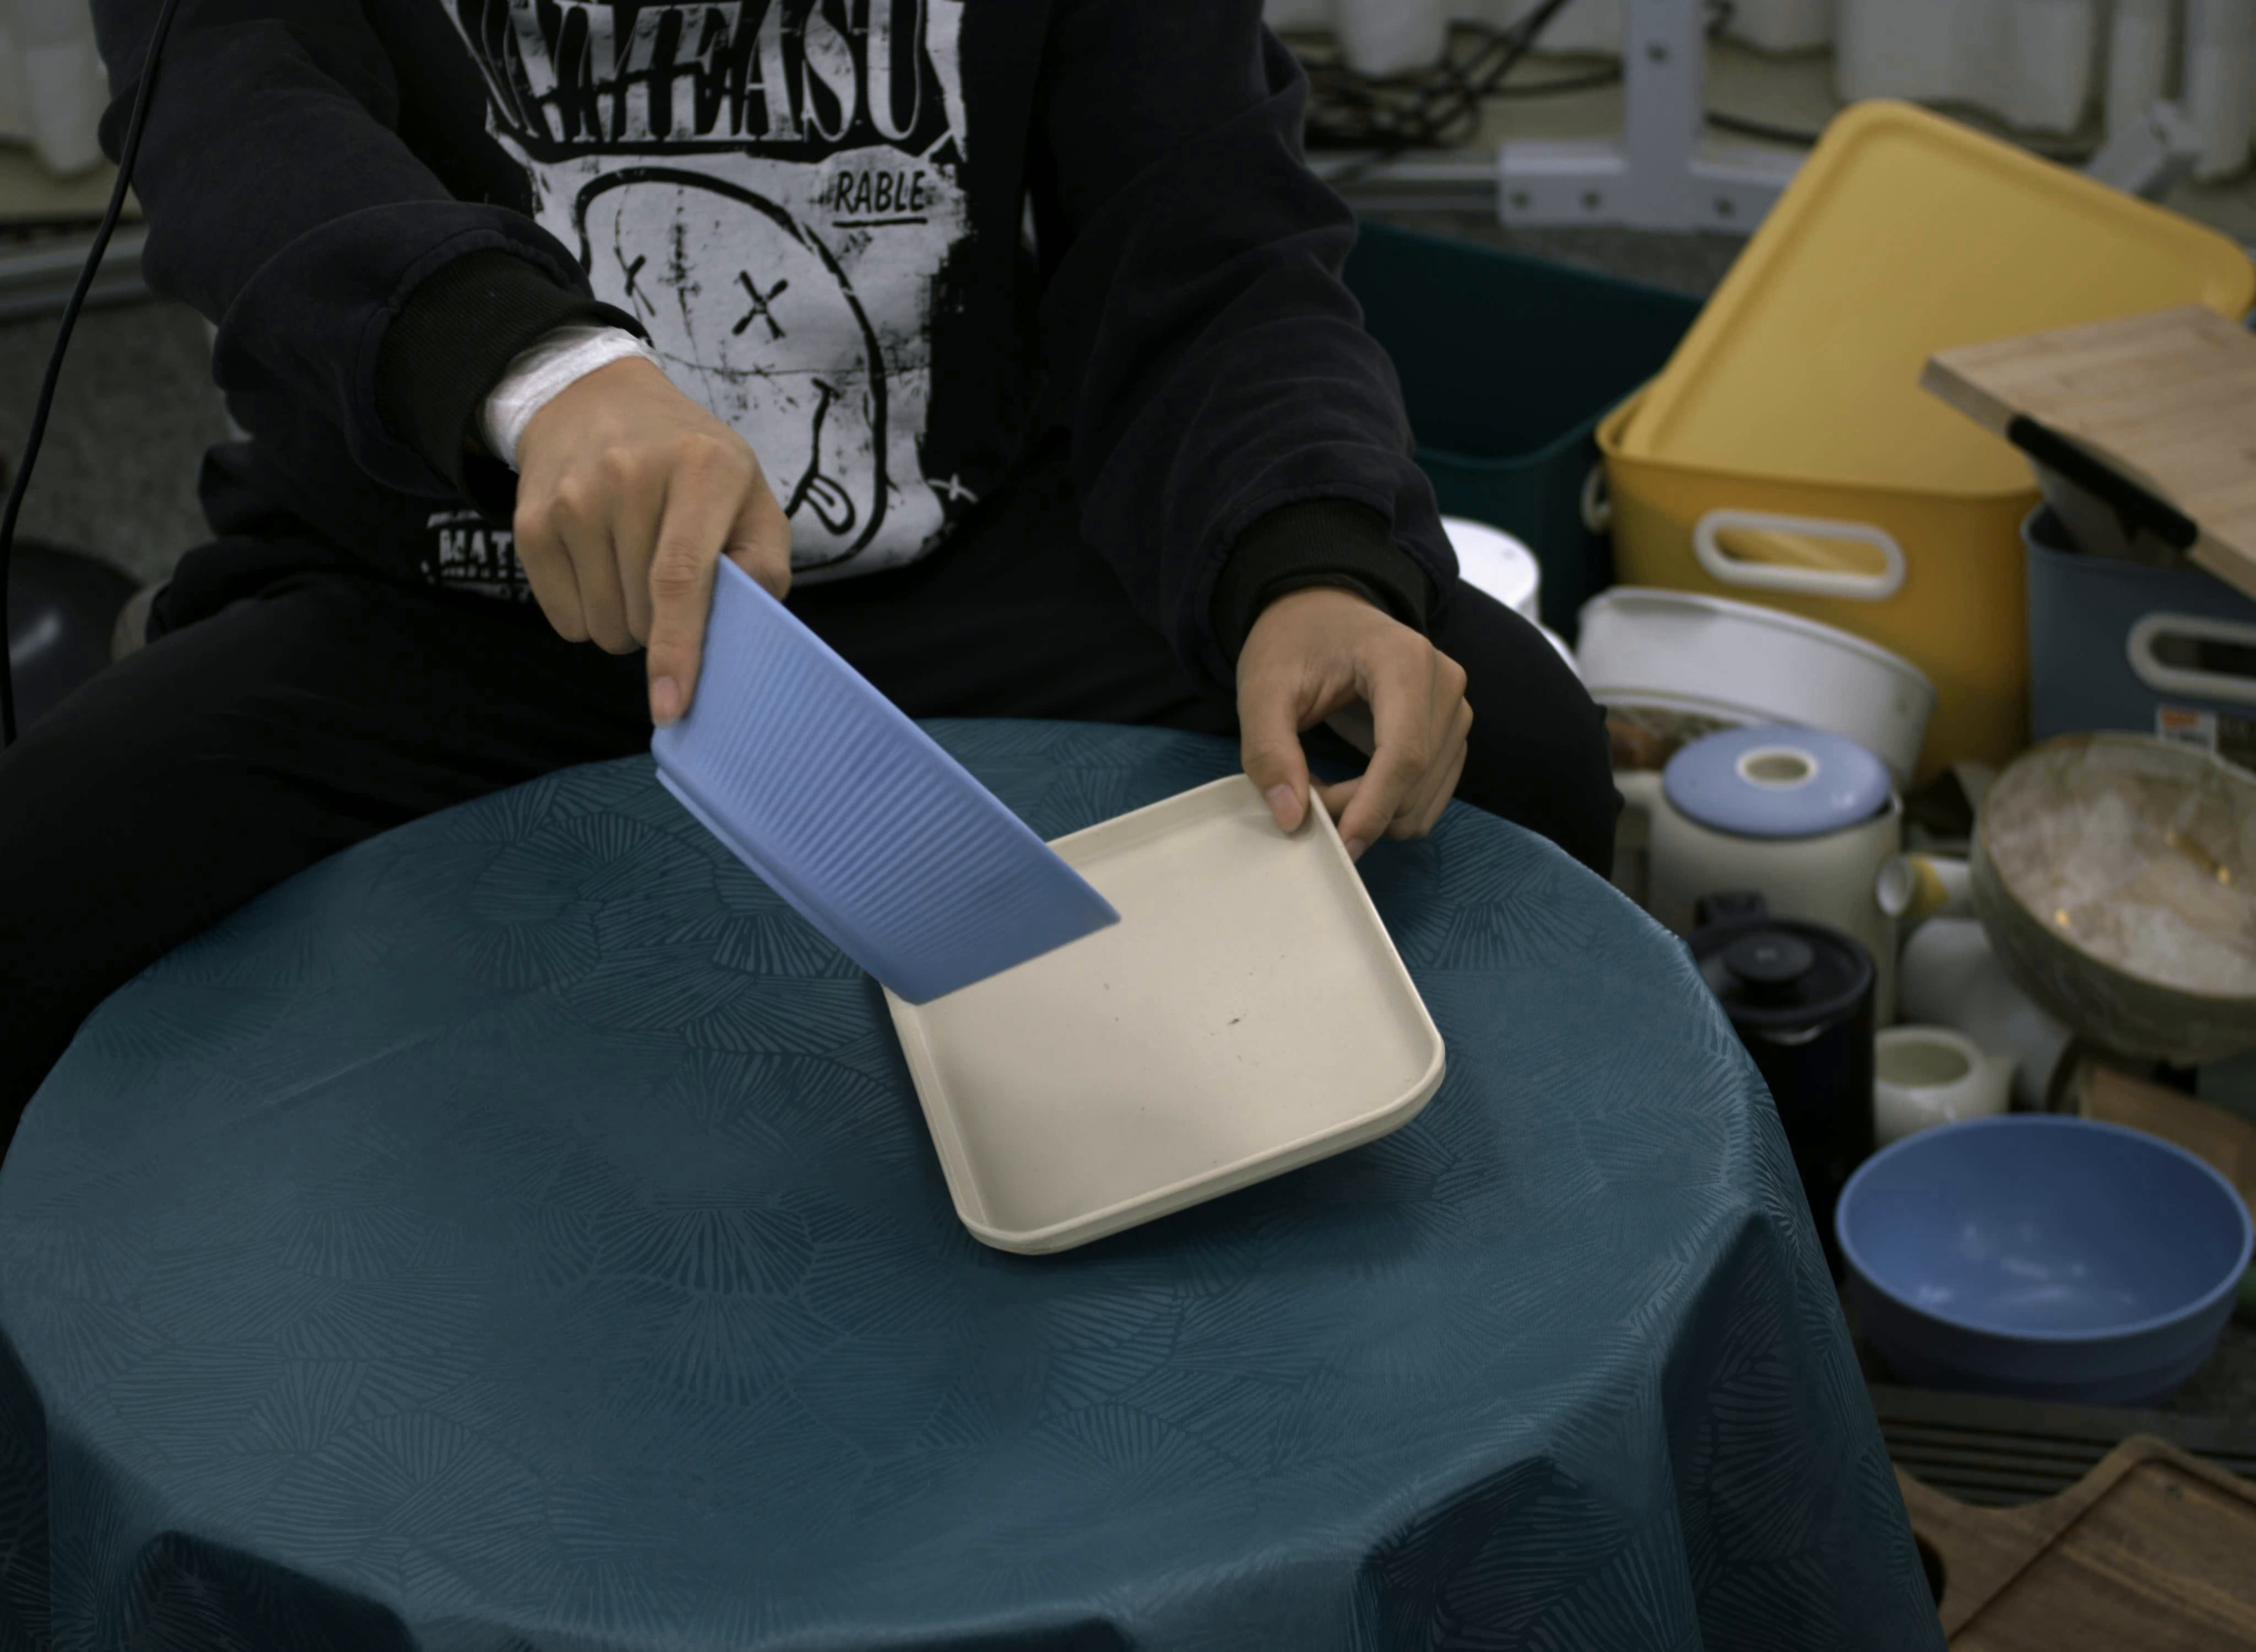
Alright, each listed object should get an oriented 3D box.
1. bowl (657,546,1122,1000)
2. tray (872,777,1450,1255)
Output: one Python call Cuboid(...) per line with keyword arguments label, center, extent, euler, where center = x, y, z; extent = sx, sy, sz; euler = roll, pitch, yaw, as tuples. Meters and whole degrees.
Cuboid(label="bowl", center=(-0.087, -0.007, 1.797), extent=(0.070, 0.174, 0.177), euler=(-47, 37, -3))
Cuboid(label="tray", center=(0.009, 0.064, 1.919), extent=(0.171, 0.017, 0.242), euler=(-19, 29, -3))
